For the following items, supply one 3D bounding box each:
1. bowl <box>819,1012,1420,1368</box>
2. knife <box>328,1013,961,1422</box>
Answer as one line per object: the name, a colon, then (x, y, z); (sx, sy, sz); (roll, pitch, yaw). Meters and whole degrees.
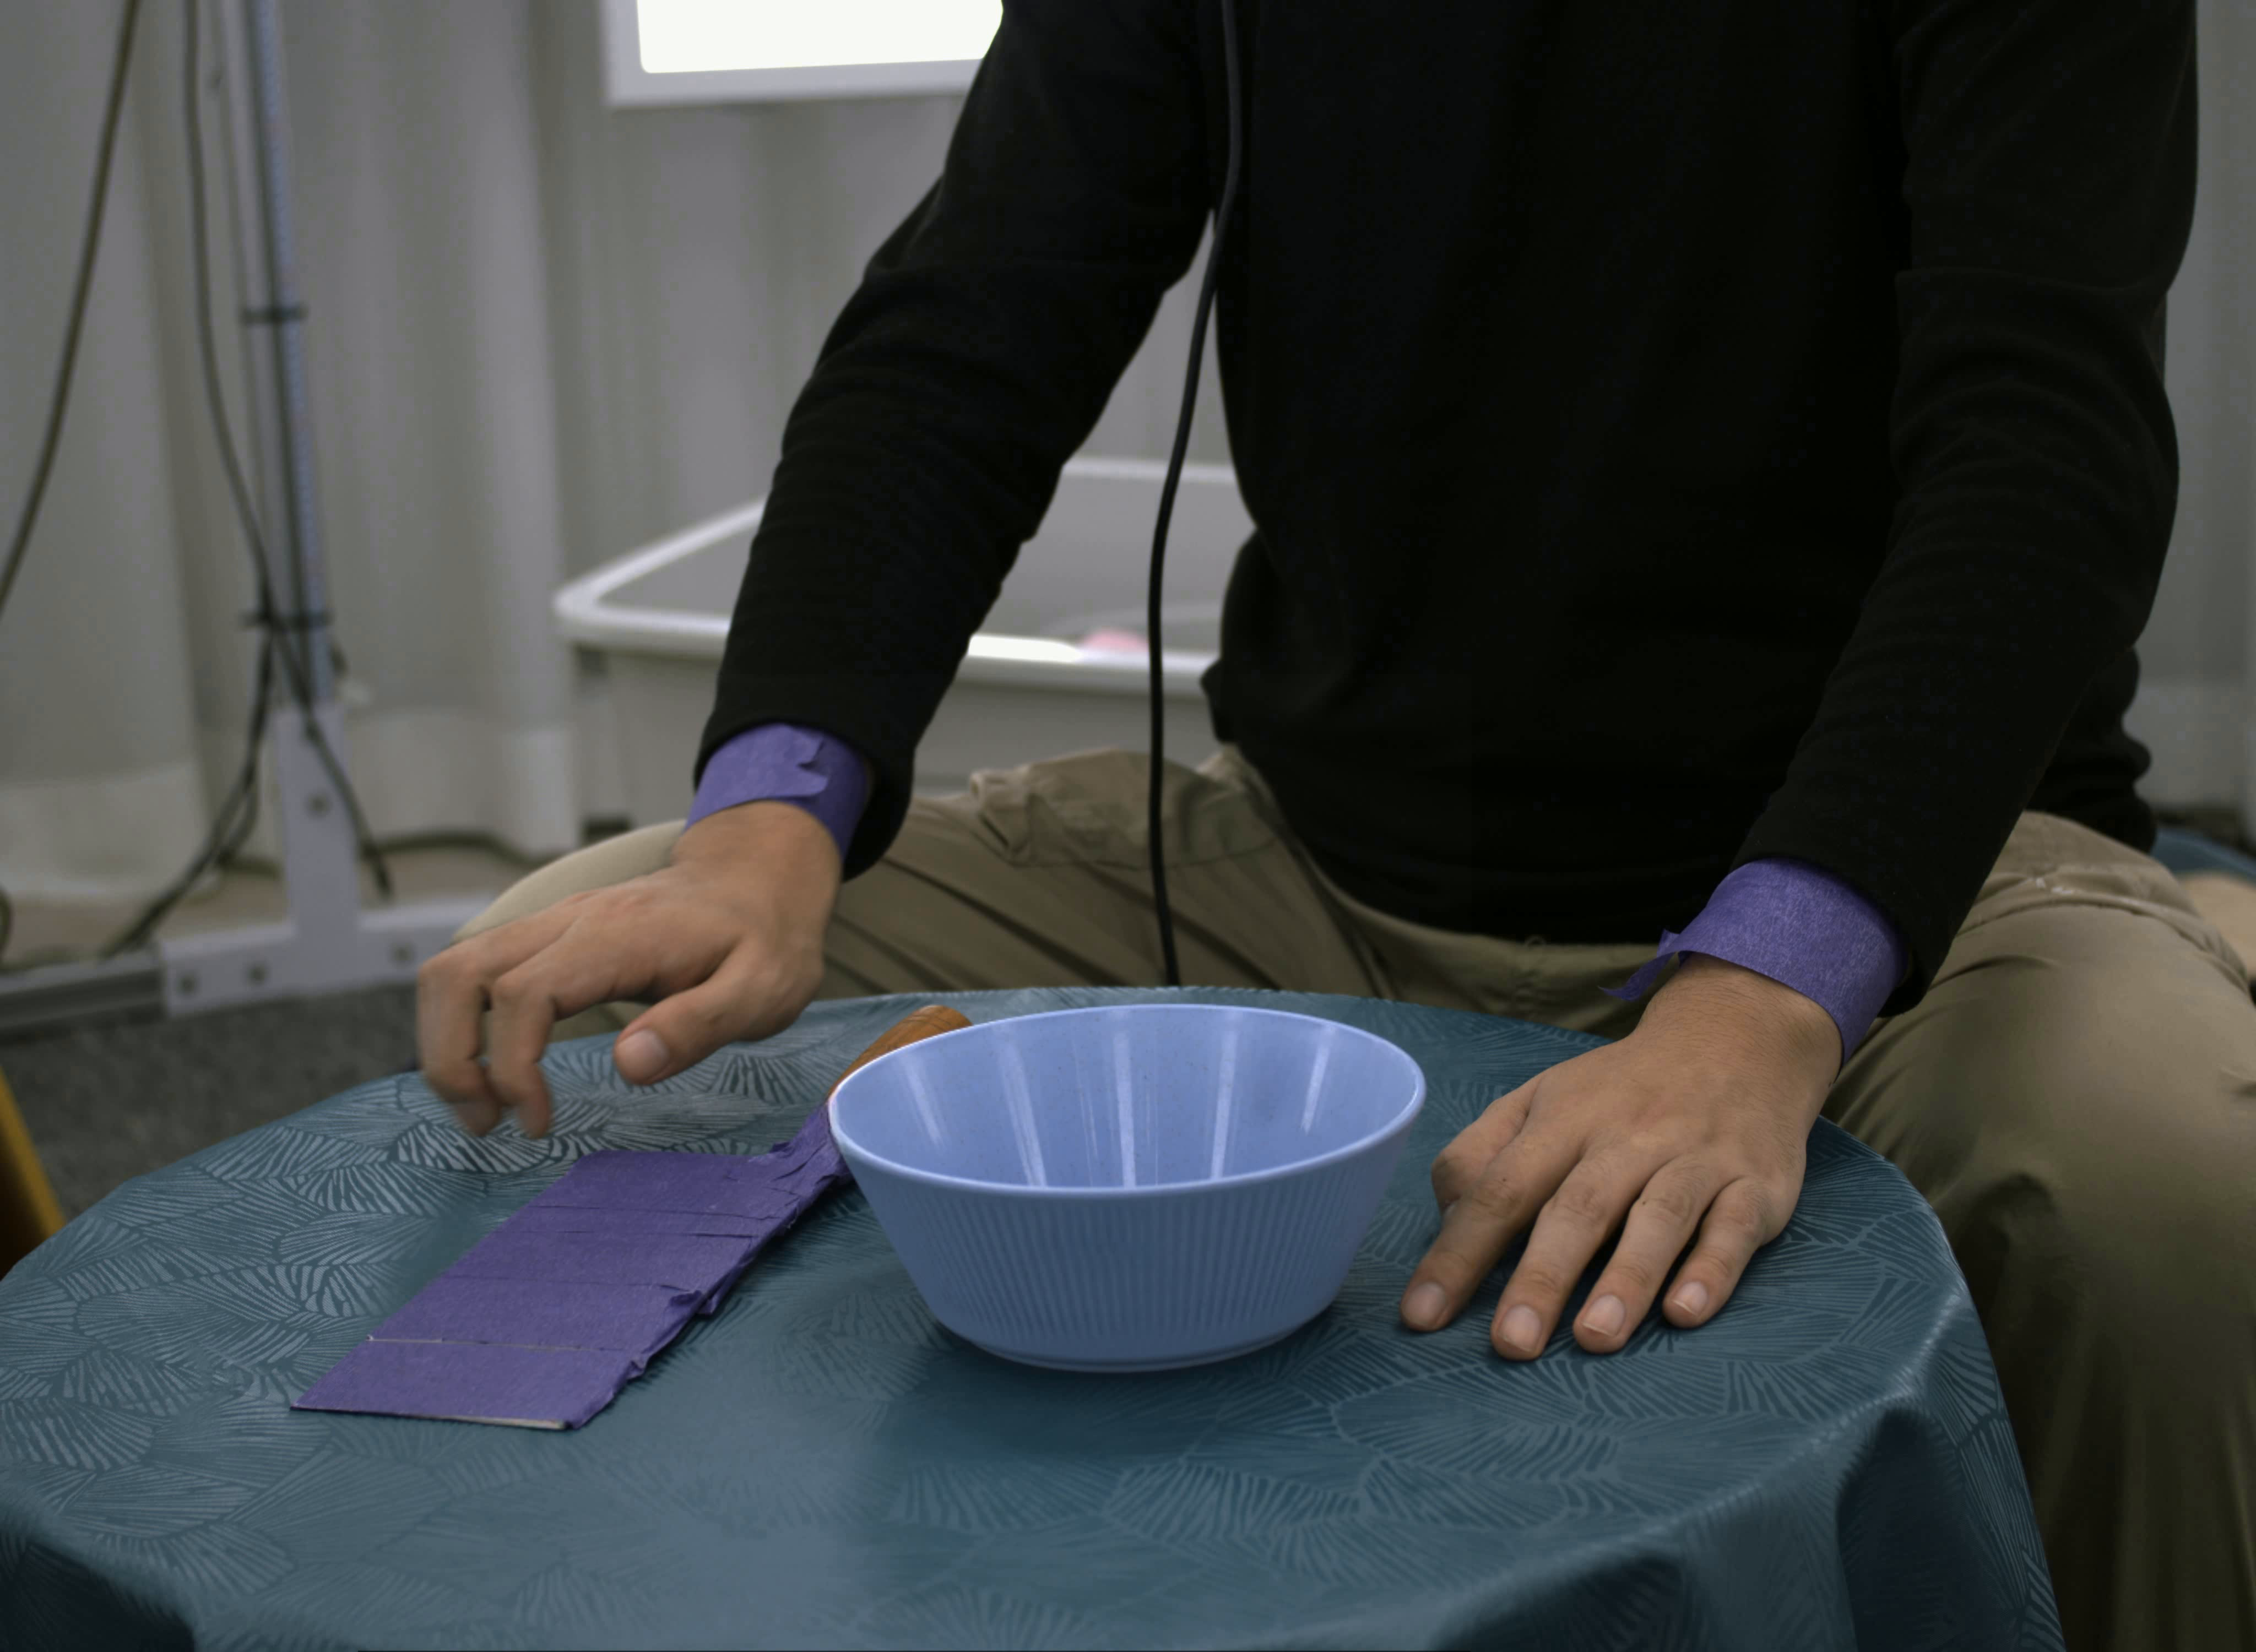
bowl: (-0.002, 0.109, 1.600); (0.175, 0.070, 0.177); (-2, 14, 0)
knife: (-0.145, 0.117, 1.683); (0.104, 0.032, 0.316); (3, 16, 19)
